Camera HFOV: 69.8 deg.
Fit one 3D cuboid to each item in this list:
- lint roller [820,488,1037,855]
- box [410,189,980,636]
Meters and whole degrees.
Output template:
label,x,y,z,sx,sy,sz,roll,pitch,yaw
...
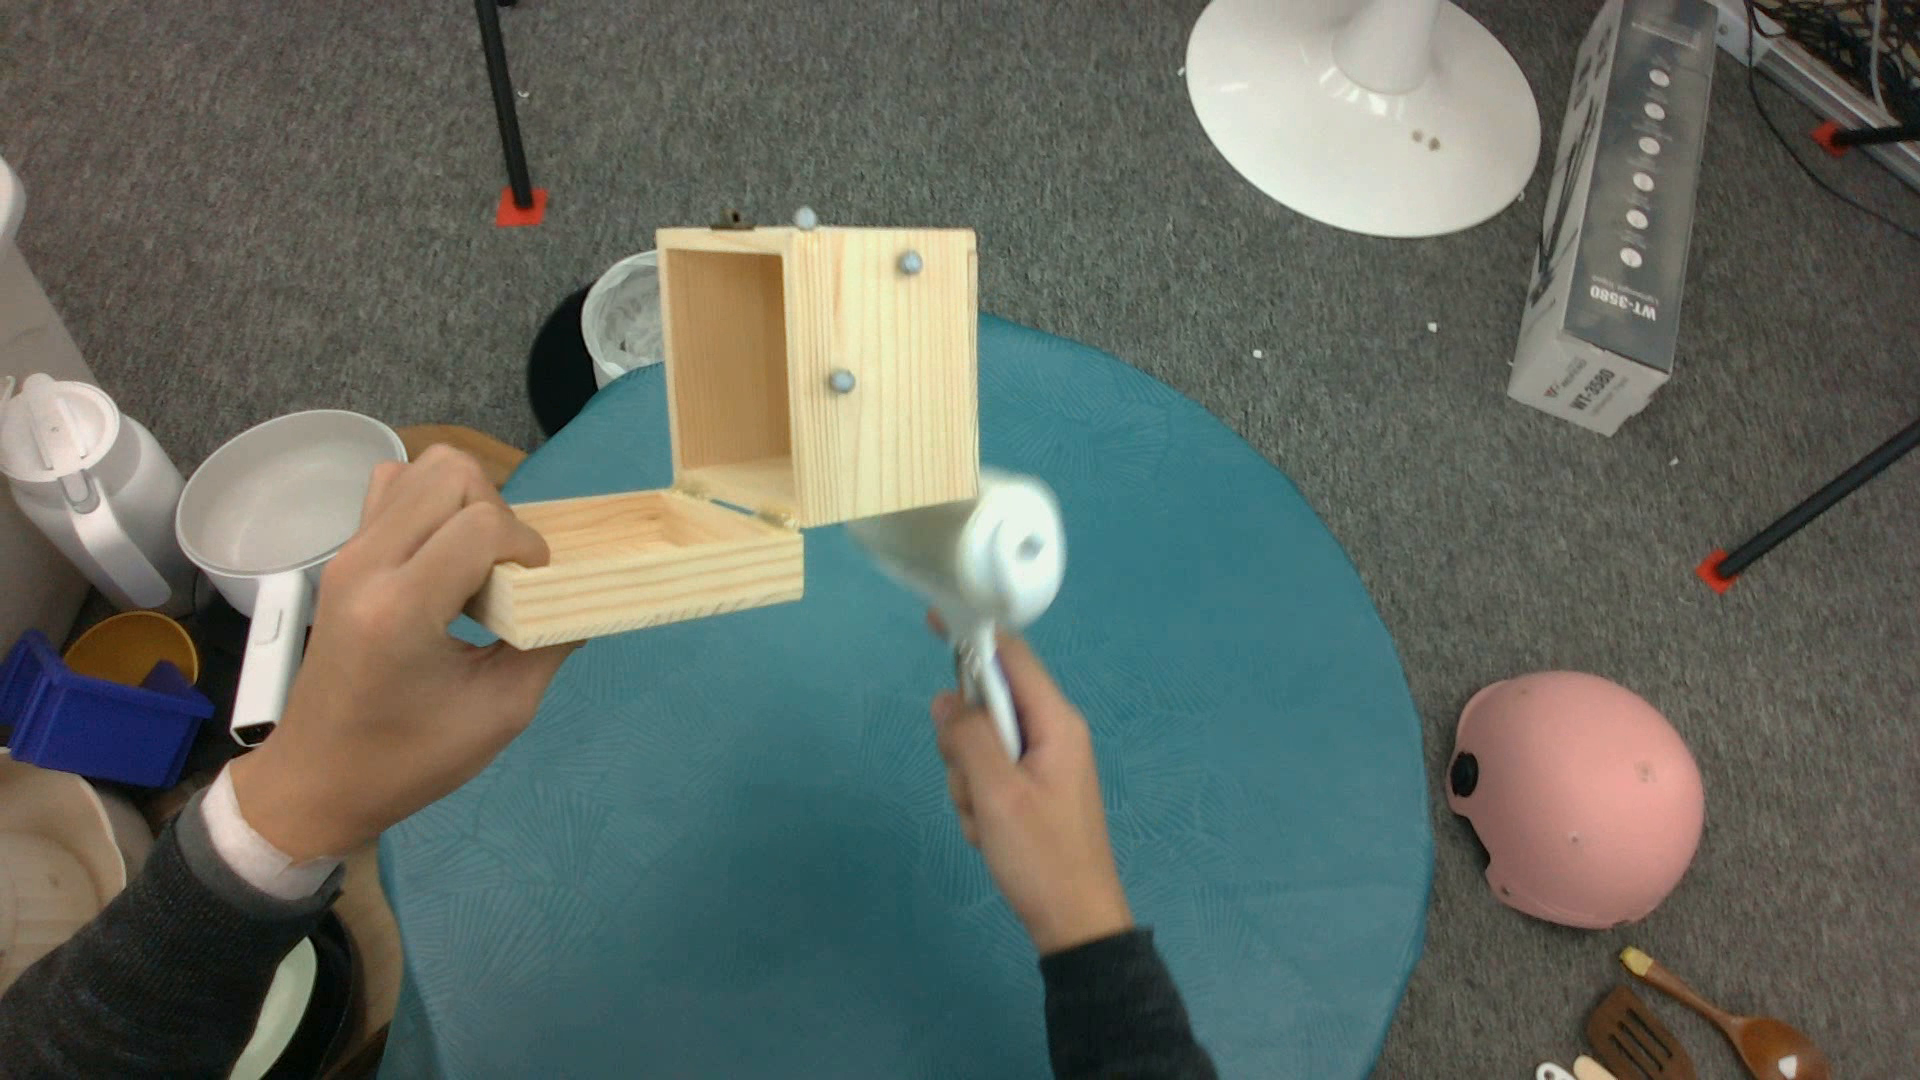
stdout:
label,x,y,z,sx,sy,sz,roll,pitch,yaw
lint roller,0.009,0.062,0.609,0.050,0.133,0.180,-37,115,-20
box,-0.096,-0.056,0.492,0.185,0.102,0.133,-13,108,-36
